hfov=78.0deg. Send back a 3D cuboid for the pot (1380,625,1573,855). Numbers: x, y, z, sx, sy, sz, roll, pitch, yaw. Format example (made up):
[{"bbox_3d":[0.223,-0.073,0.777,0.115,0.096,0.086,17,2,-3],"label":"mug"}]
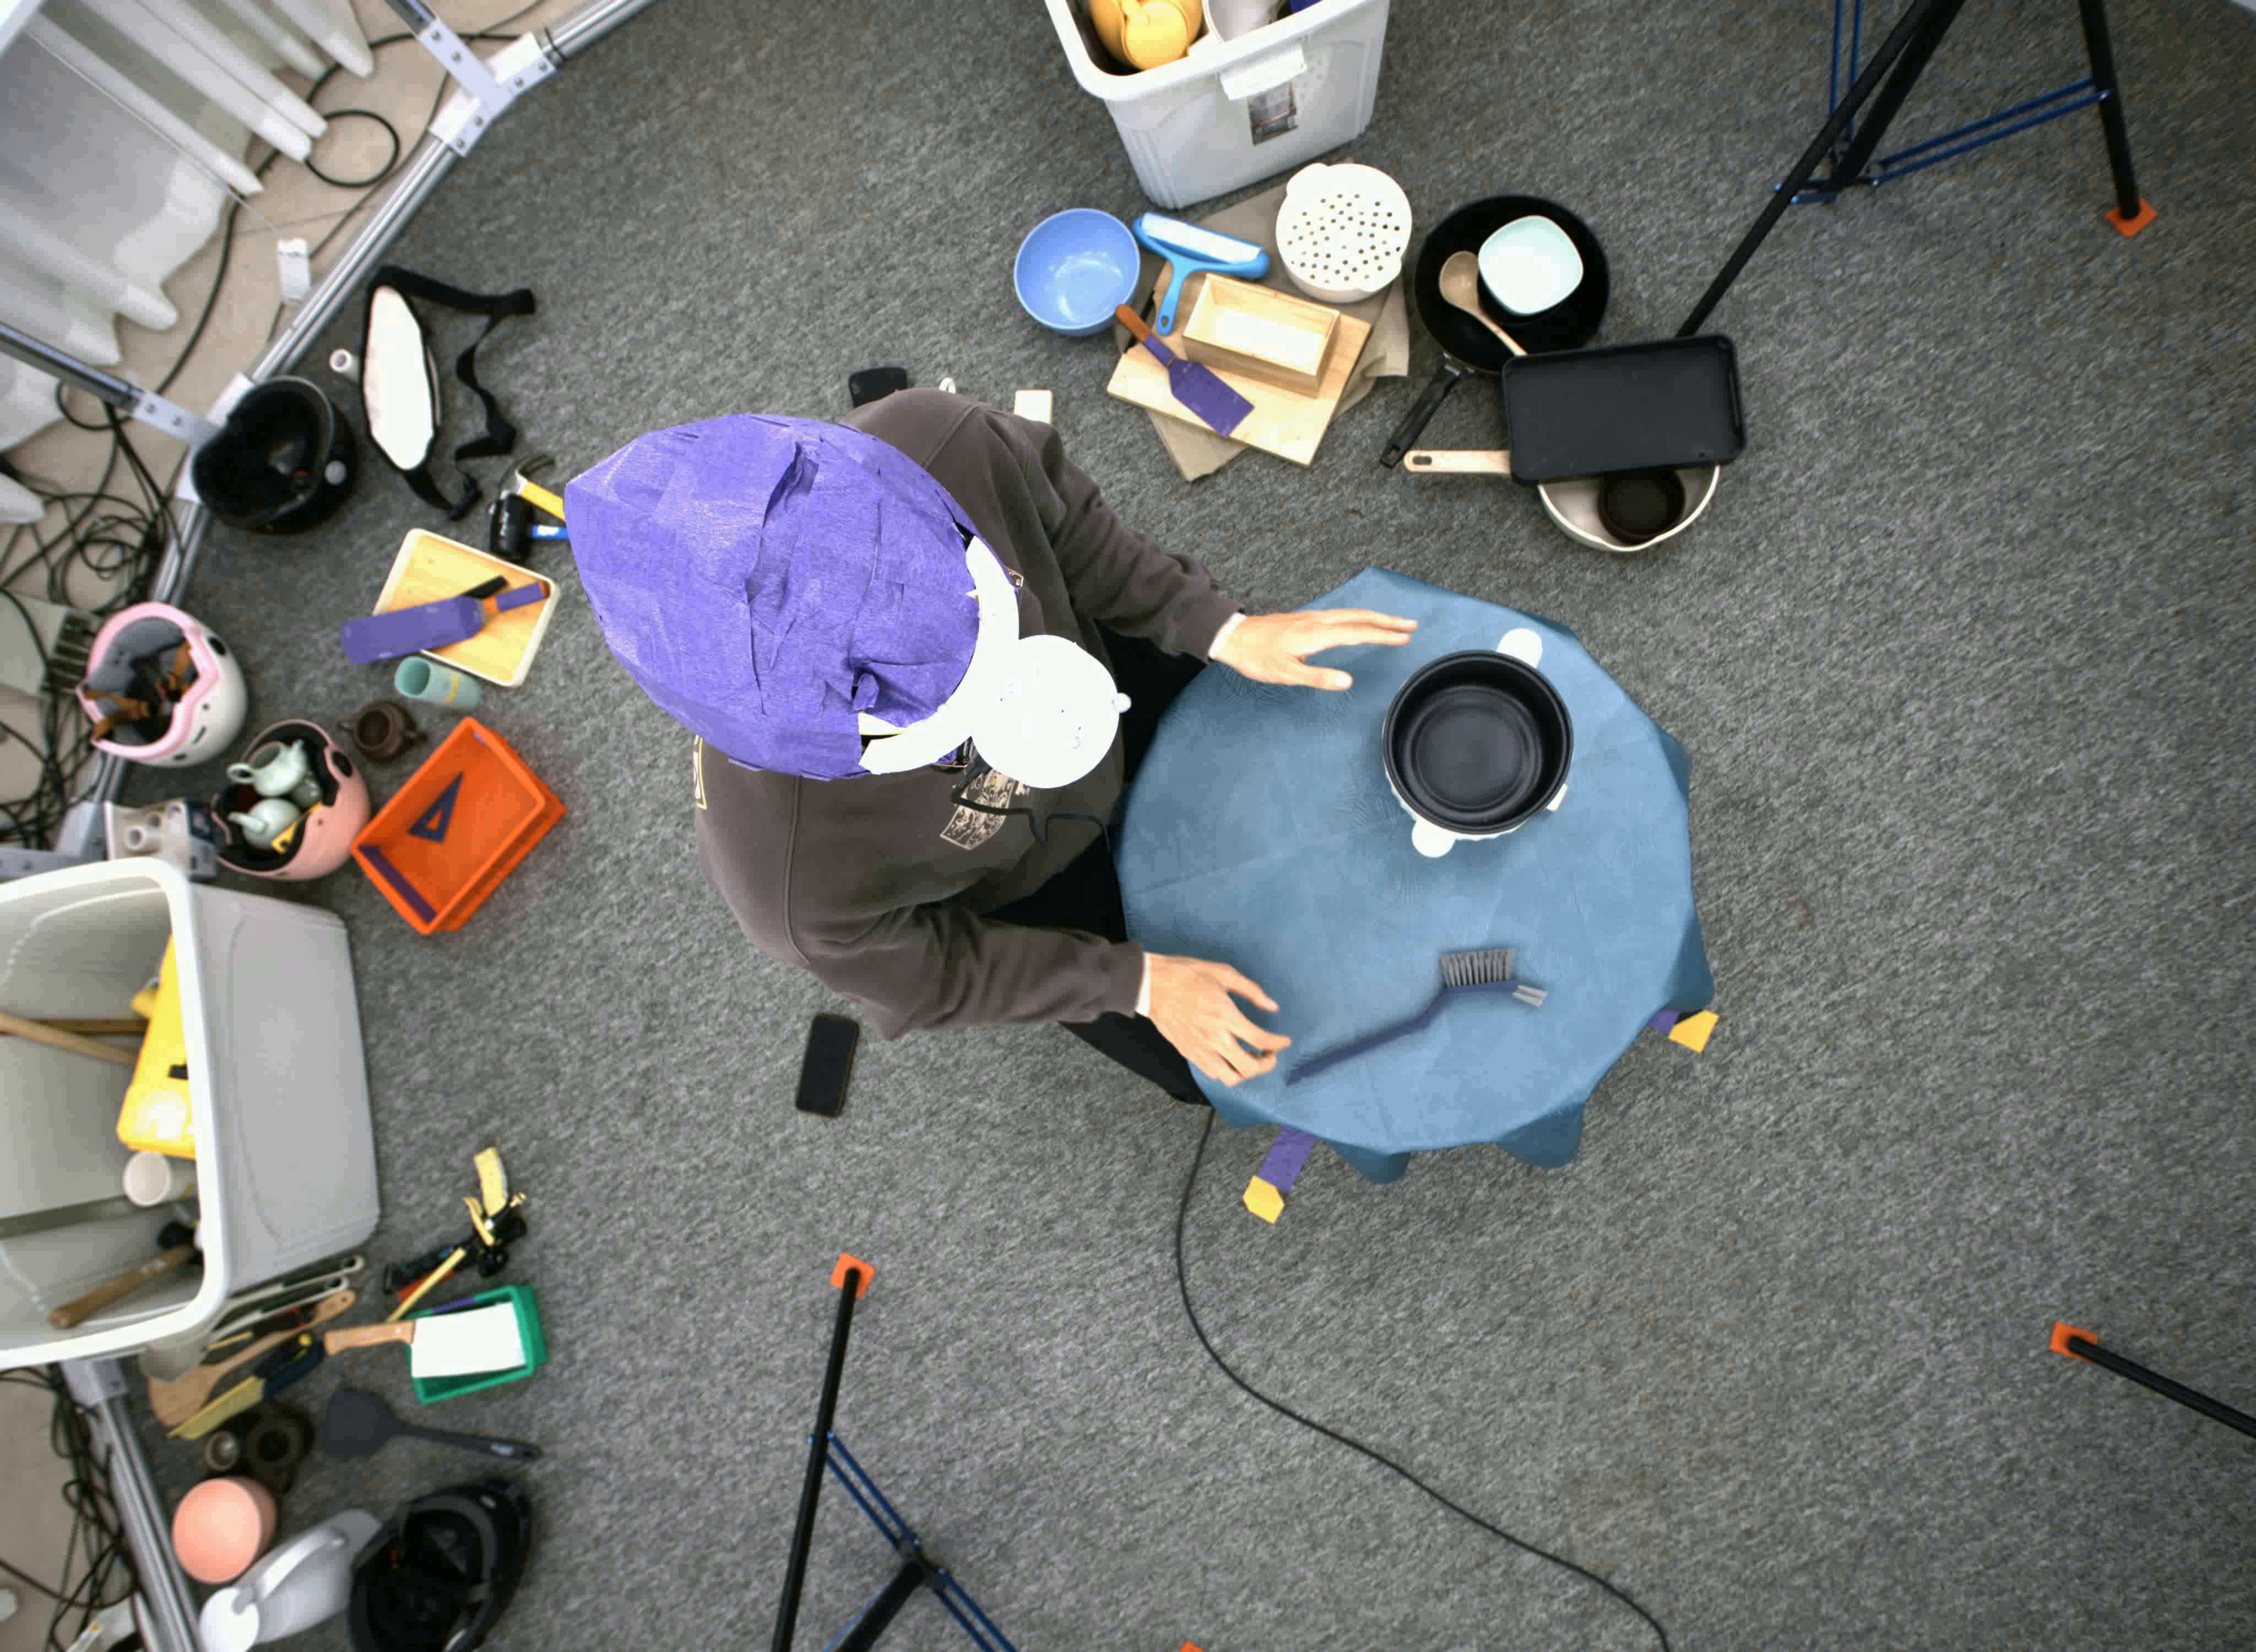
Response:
[{"bbox_3d":[0.352,-0.077,1.379,0.190,0.142,0.241,25,92,14],"label":"pot"}]

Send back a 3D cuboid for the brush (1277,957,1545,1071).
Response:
[{"bbox_3d":[0.289,0.211,1.429,0.274,0.033,0.095,-30,79,6],"label":"brush"}]
